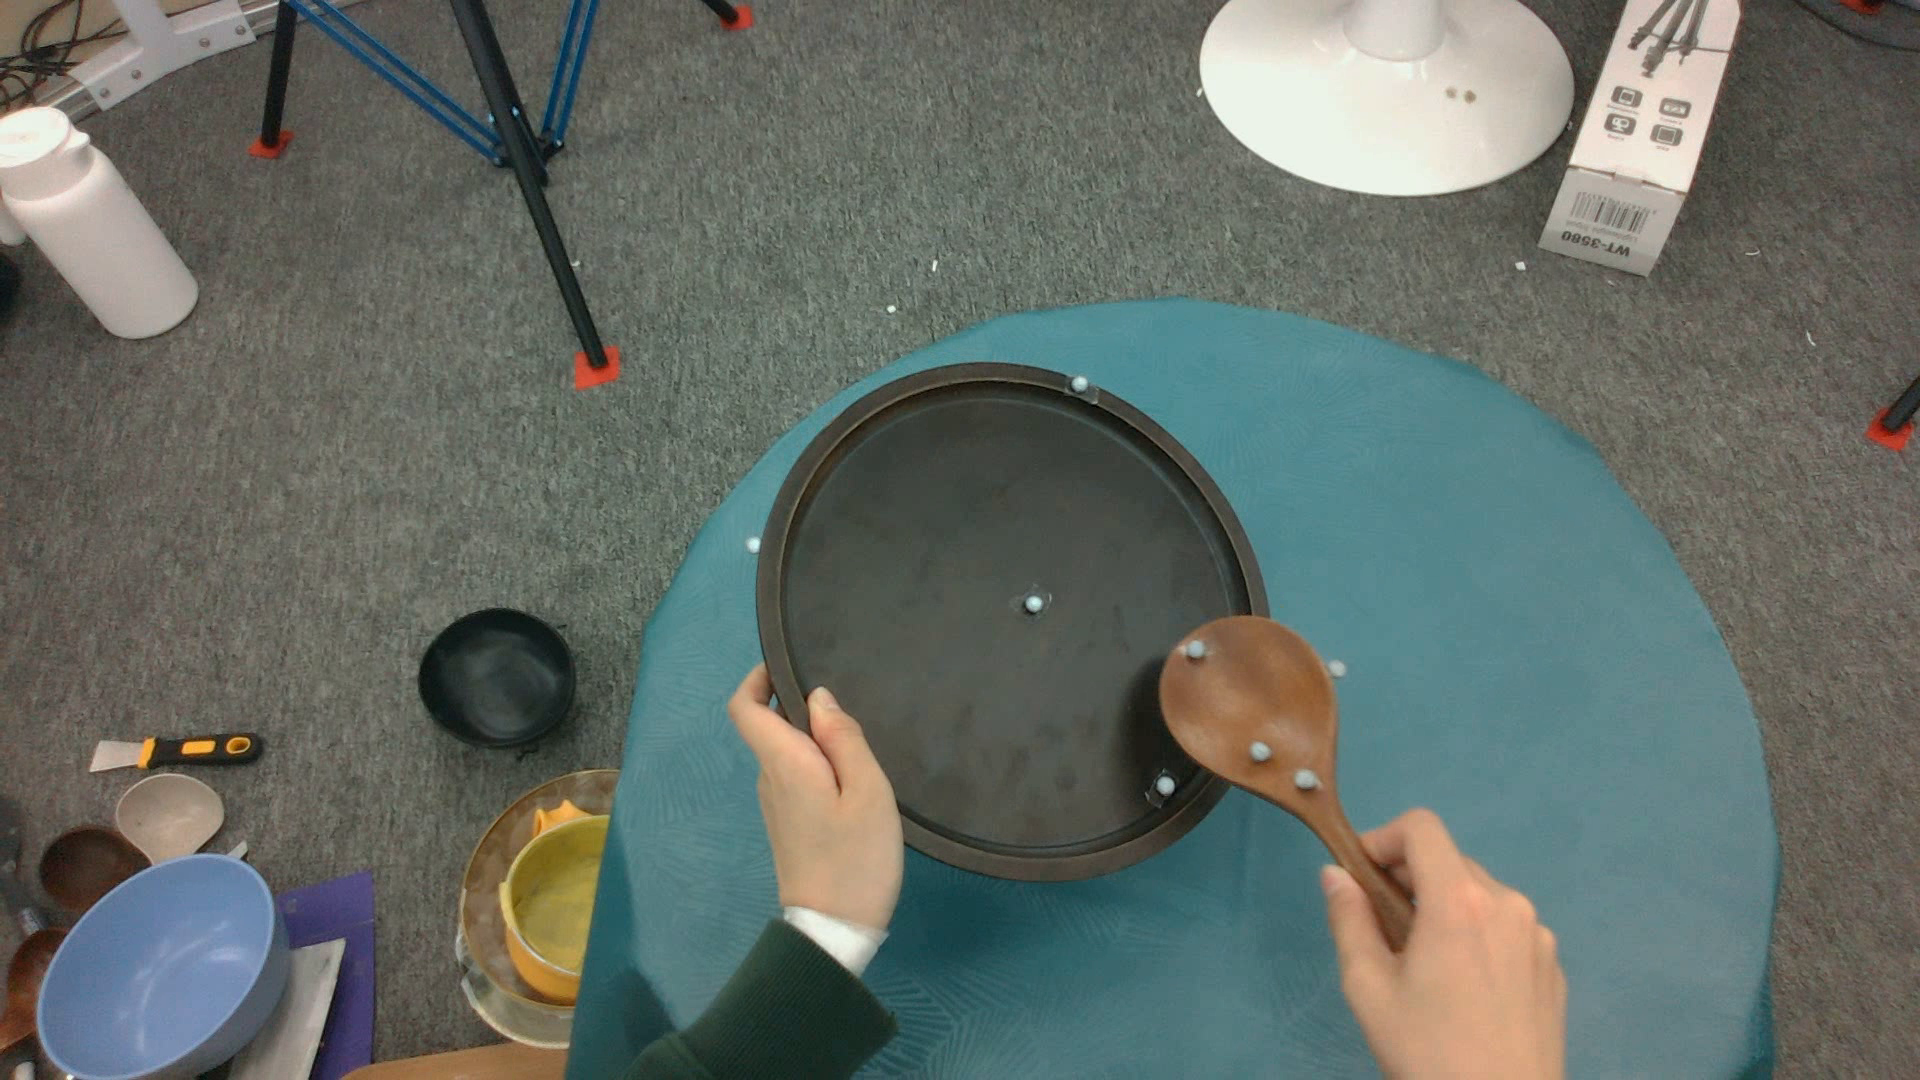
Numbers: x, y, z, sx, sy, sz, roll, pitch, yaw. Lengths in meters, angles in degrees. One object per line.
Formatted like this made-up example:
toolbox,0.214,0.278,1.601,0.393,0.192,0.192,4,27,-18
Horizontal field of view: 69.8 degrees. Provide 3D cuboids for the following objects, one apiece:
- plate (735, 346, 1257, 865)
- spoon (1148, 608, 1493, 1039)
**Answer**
plate,0.021,0.025,0.647,0.255,0.029,0.255,7,66,-15
spoon,0.145,0.107,0.564,0.075,0.017,0.216,-28,44,-2
